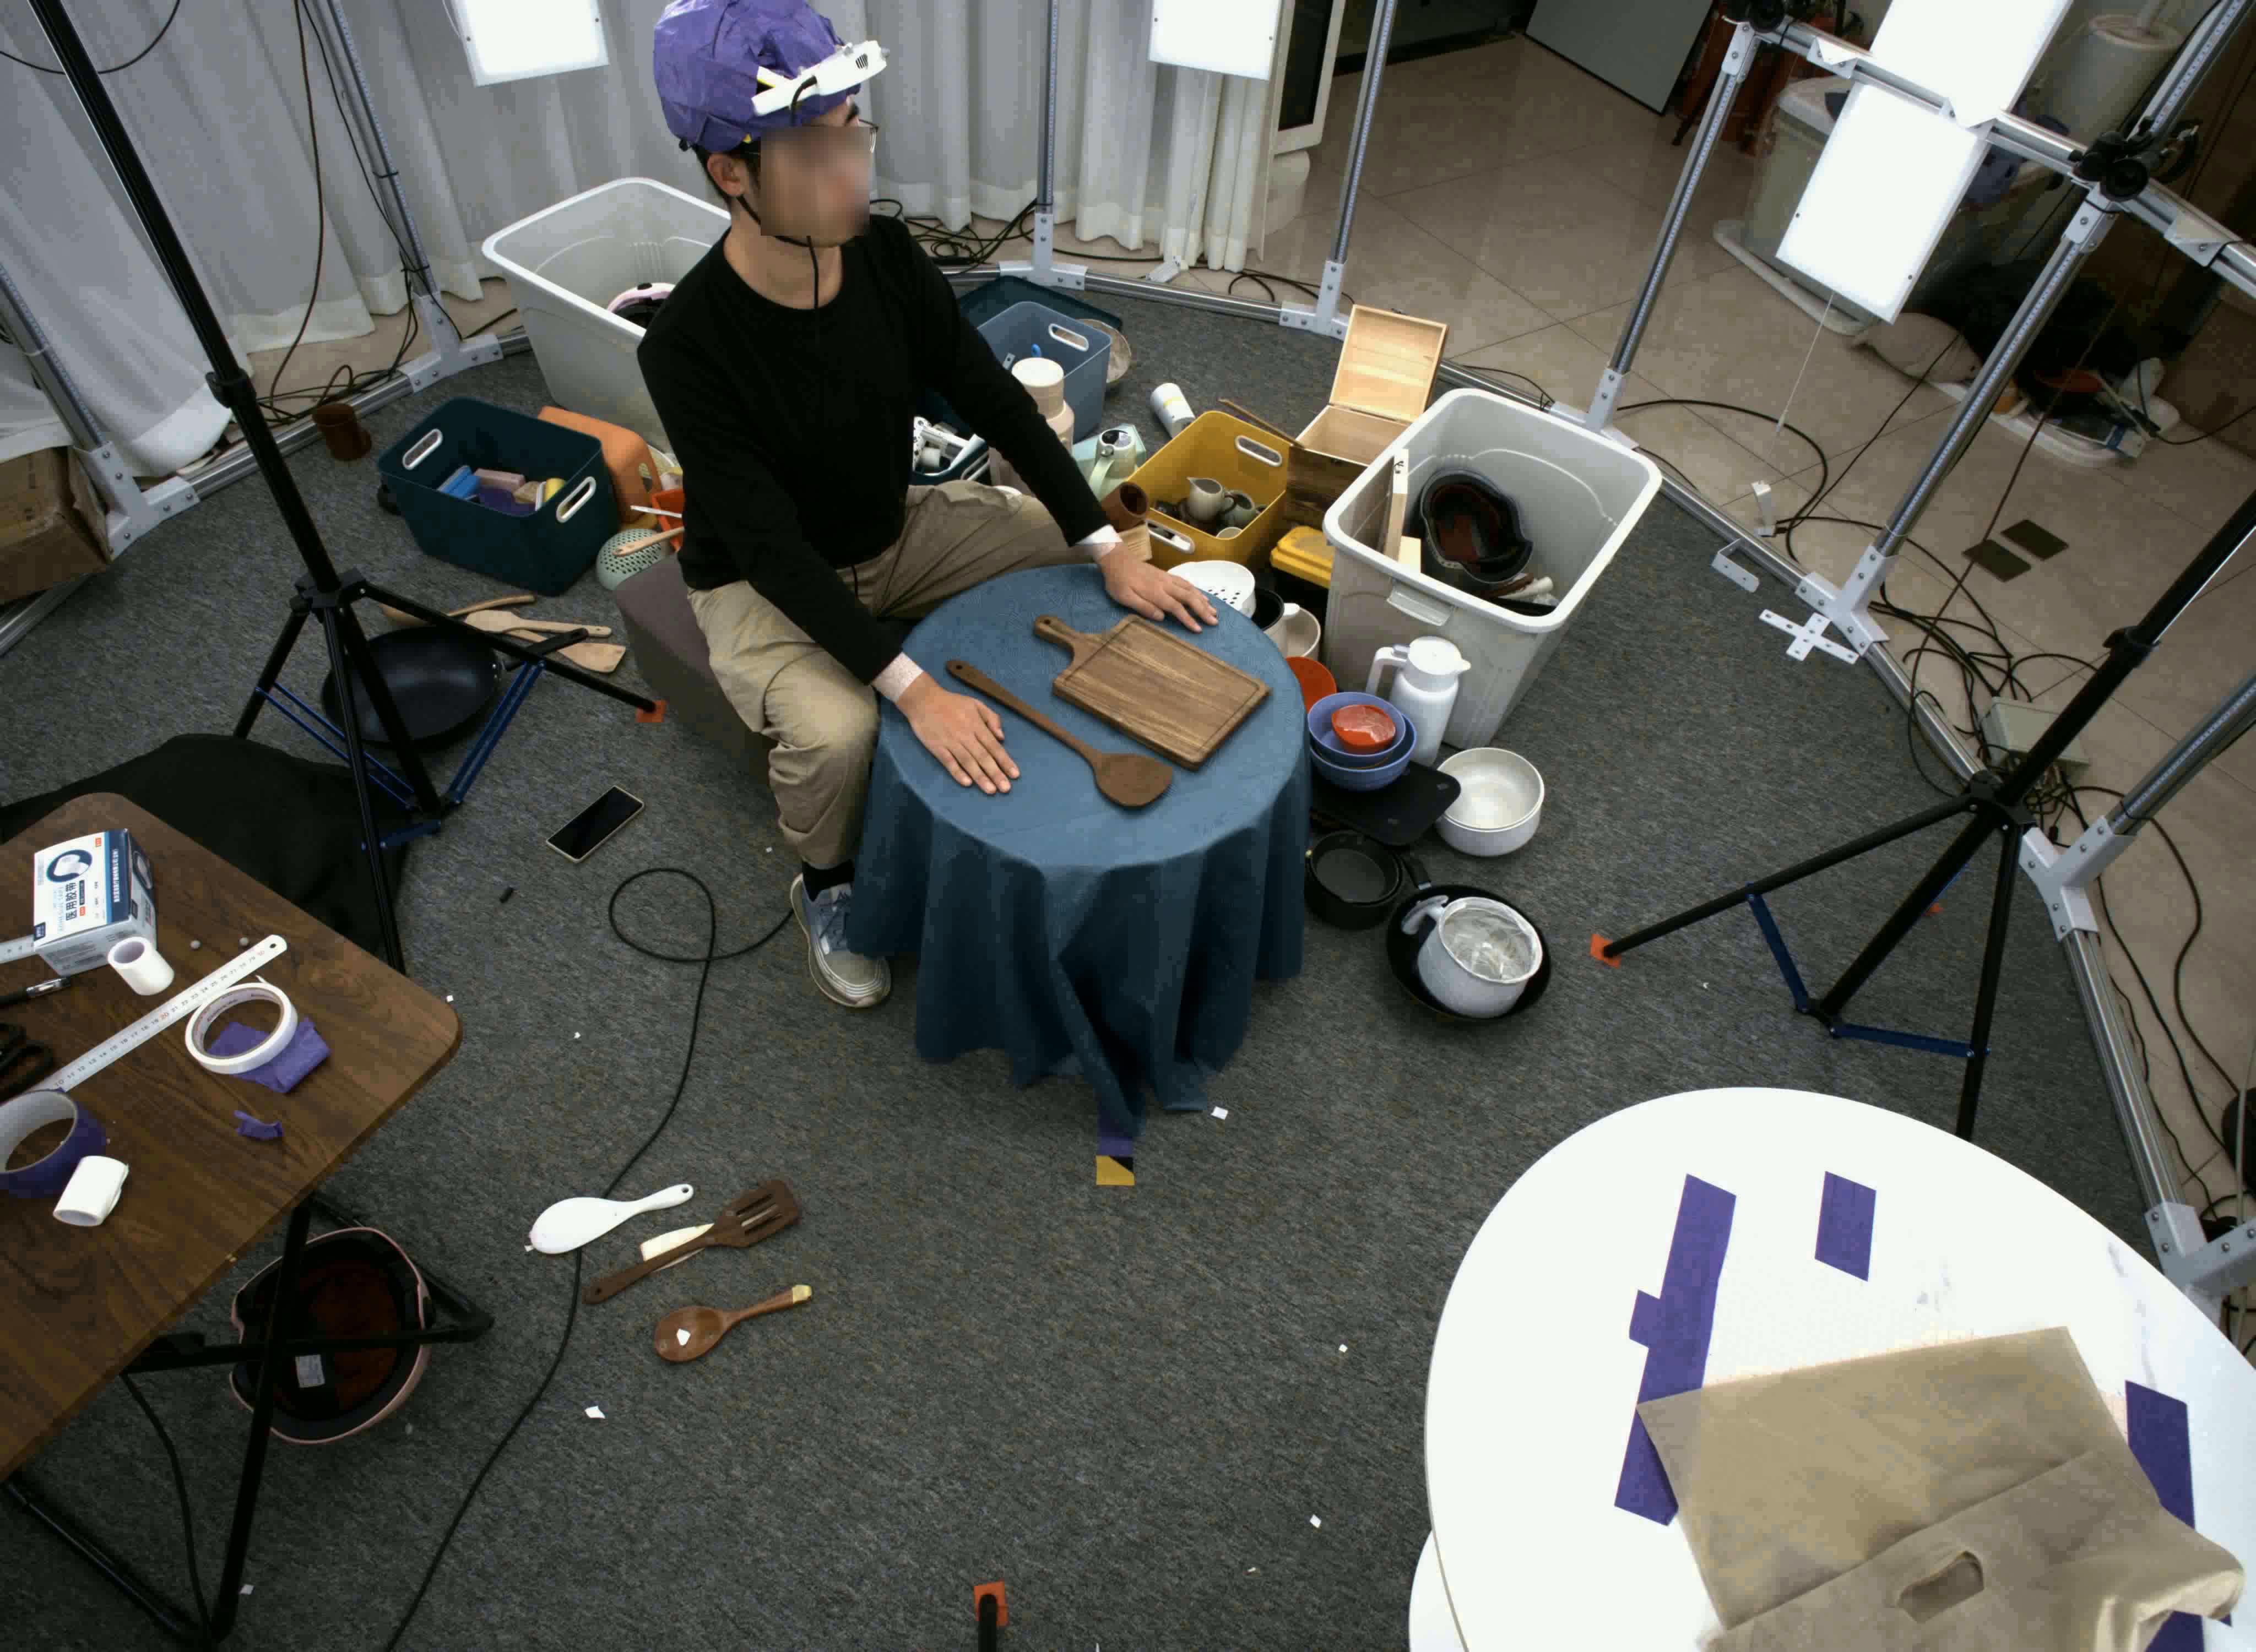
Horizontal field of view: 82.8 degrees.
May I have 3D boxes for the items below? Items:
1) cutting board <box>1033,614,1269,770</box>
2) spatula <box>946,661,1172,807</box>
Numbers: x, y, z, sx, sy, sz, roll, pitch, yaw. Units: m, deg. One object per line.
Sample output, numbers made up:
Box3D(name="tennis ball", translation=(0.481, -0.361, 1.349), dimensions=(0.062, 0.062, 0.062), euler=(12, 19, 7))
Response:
Box3D(name="cutting board", translation=(0.007, -0.221, 1.849), dimensions=(0.356, 0.022, 0.204), euler=(30, 54, 21))
Box3D(name="spatula", translation=(-0.109, -0.138, 1.773), dimensions=(0.391, 0.015, 0.097), euler=(33, 54, 23))
